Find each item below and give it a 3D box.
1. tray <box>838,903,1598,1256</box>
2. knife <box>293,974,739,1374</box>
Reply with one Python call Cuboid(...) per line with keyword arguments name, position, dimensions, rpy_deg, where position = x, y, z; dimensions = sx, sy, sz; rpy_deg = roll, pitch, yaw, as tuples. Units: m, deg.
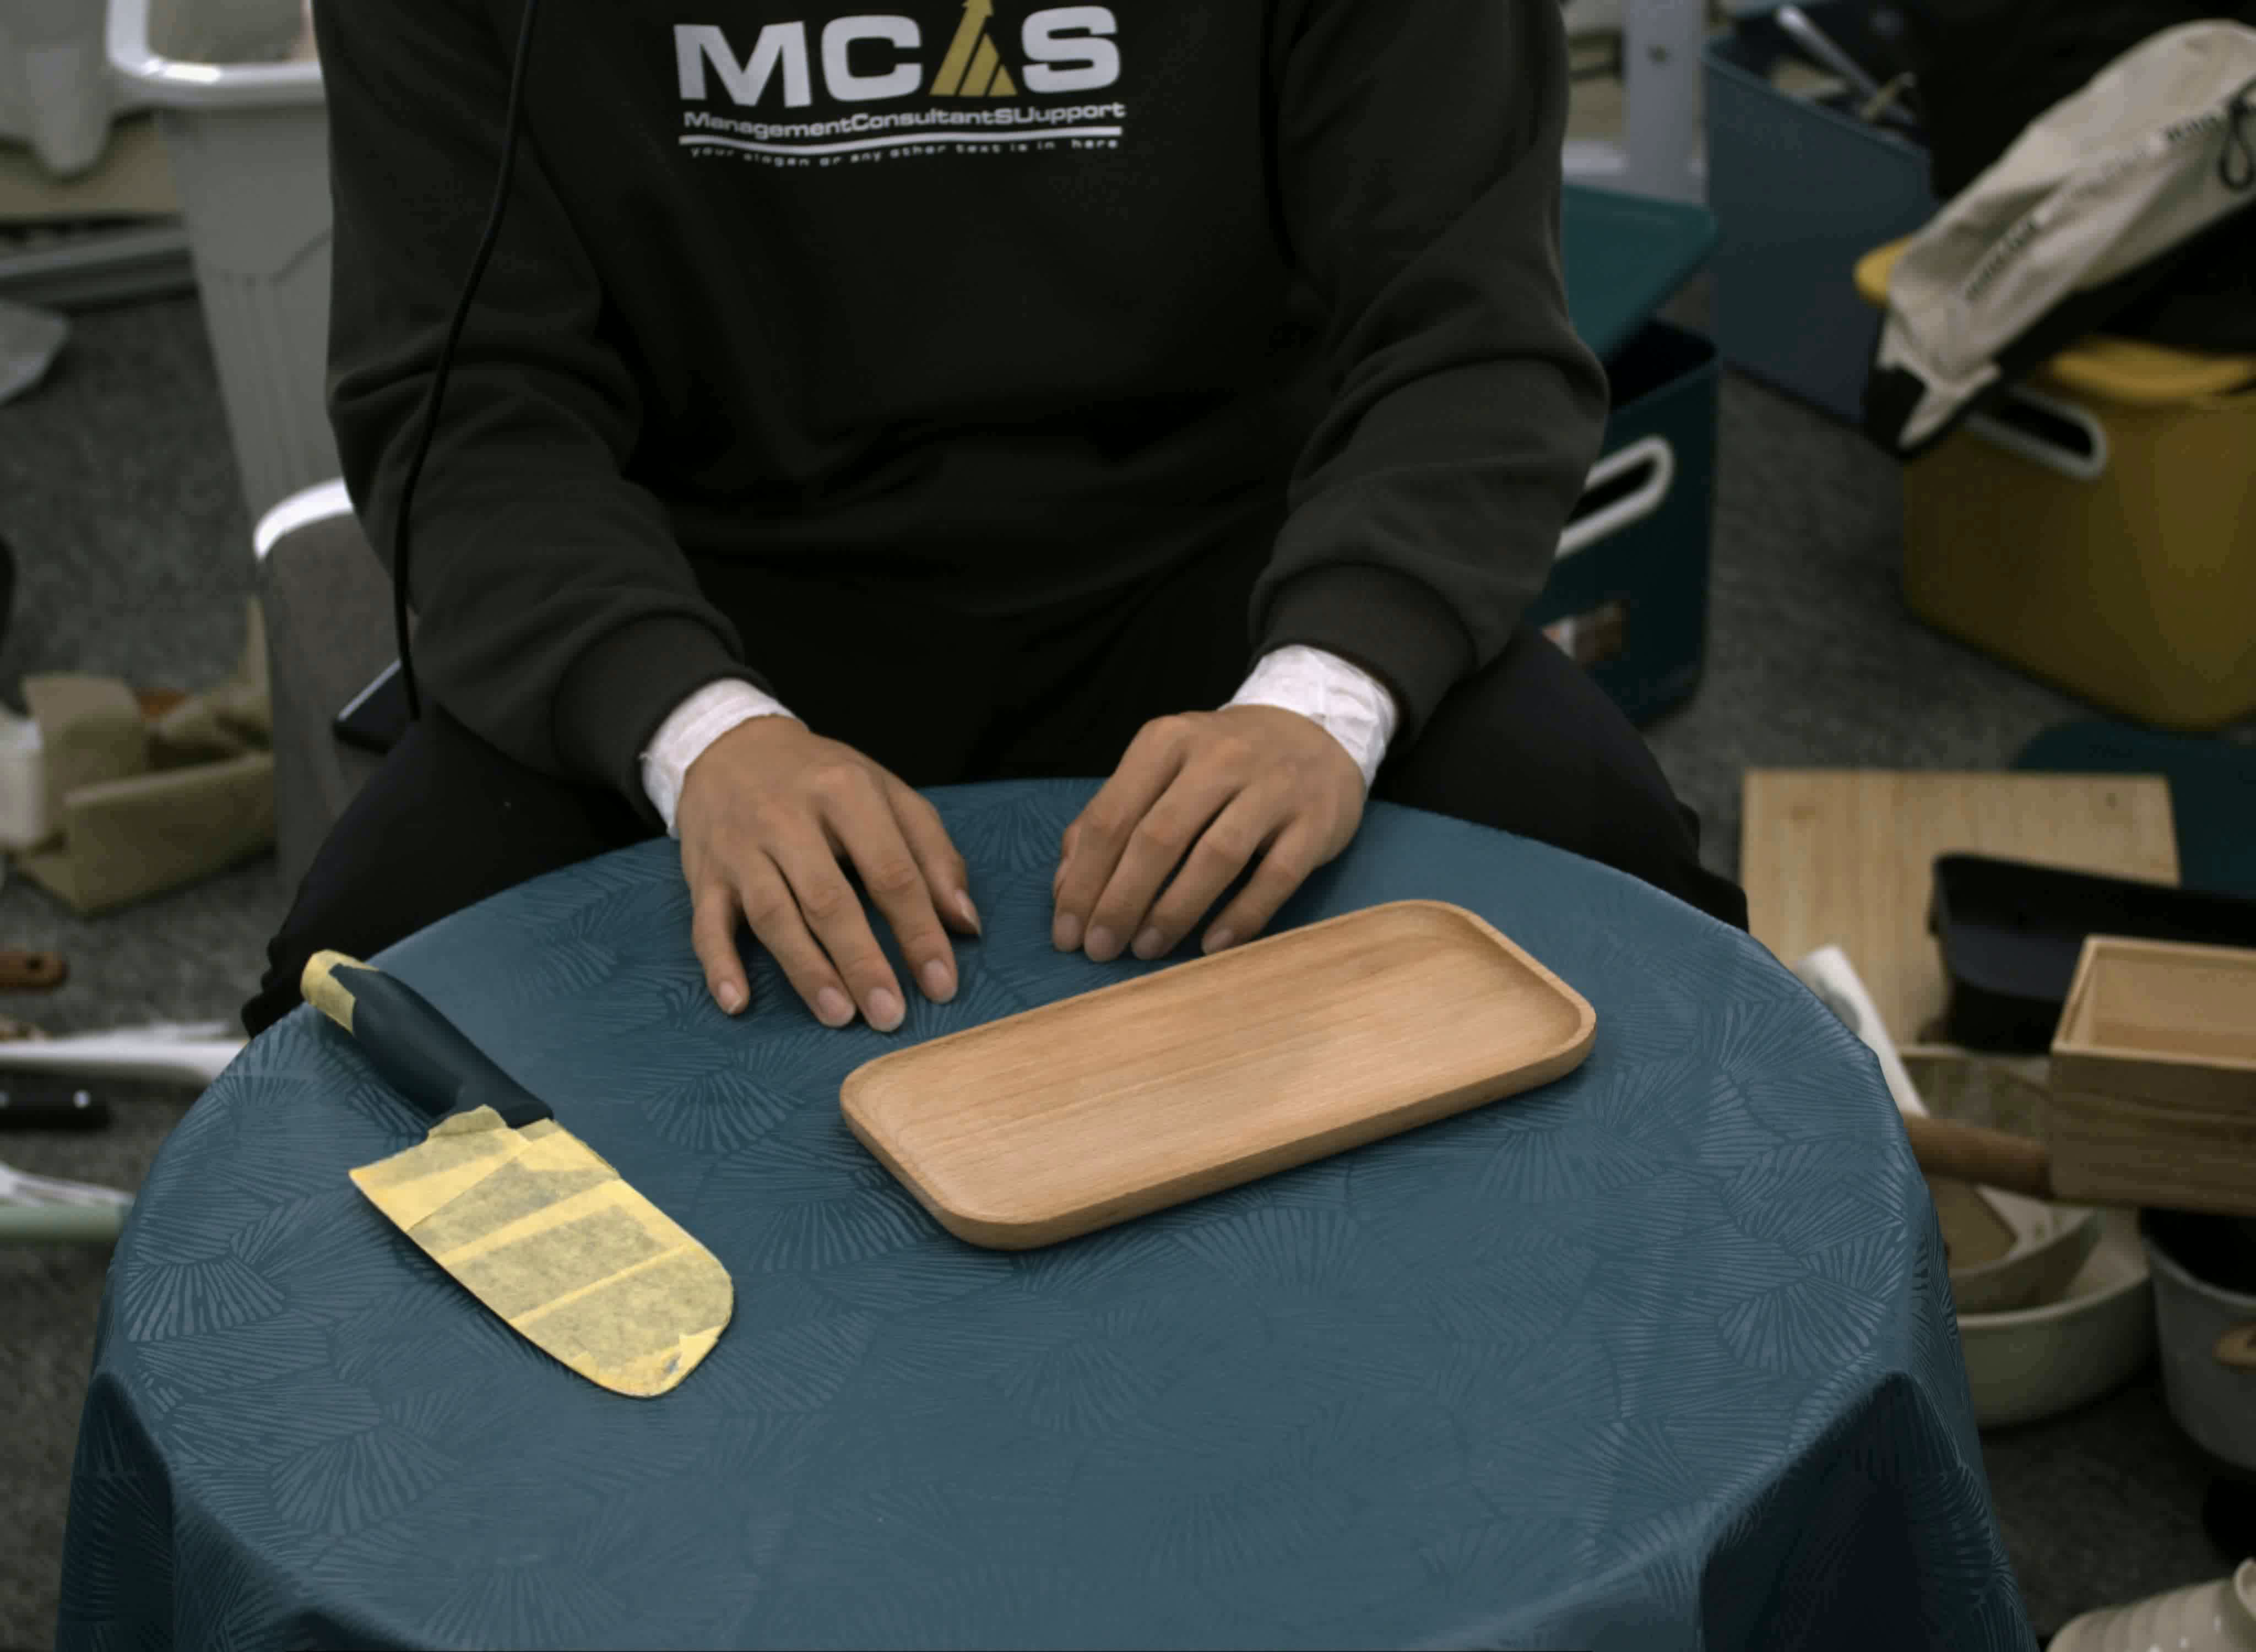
Cuboid(name="tray", position=(0.031, 0.085, 1.912), dimensions=(0.252, 0.022, 0.131), rpy_deg=(-17, 28, -24))
Cuboid(name="knife", position=(-0.217, 0.117, 1.875), dimensions=(0.081, 0.027, 0.290), rpy_deg=(-17, 31, -29))
